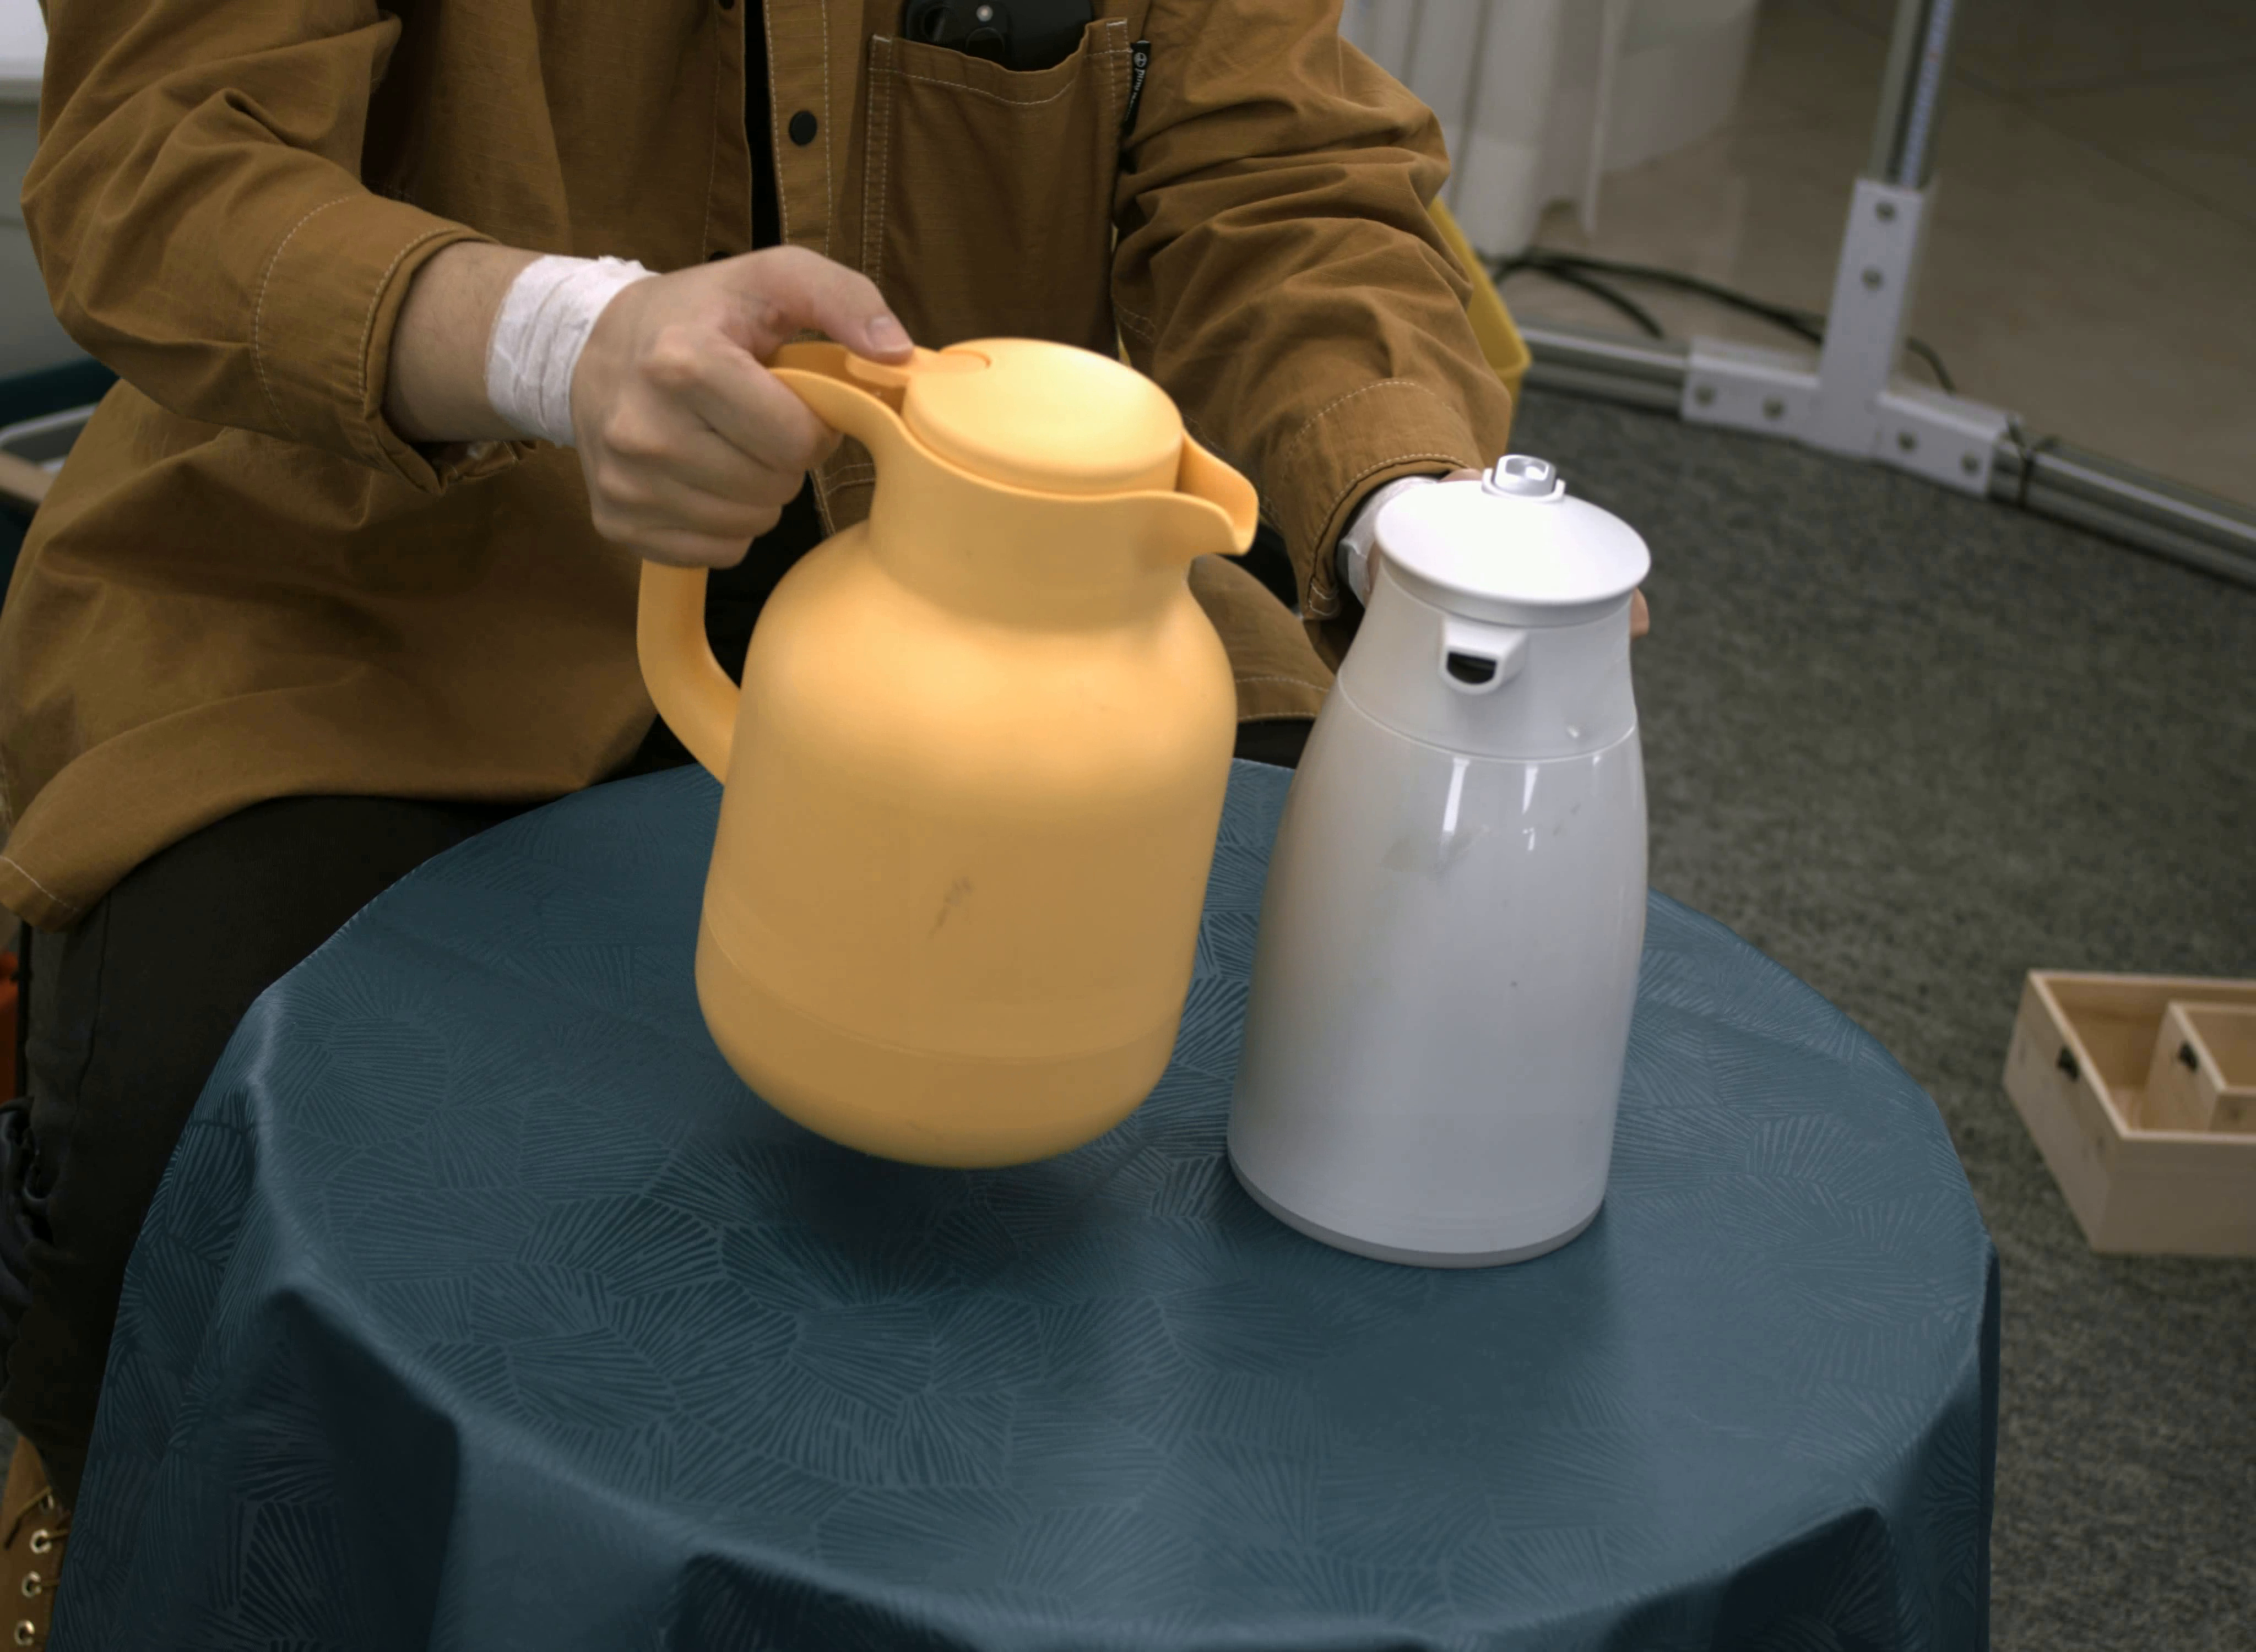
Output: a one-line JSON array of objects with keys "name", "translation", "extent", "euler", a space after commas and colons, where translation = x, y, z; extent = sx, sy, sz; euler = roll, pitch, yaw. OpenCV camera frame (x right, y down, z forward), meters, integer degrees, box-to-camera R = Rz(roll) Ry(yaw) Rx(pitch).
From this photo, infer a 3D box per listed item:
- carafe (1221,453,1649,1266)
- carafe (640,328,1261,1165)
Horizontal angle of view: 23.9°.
[{"name": "carafe", "translation": [0.114, 0.000, 1.800], "extent": [0.132, 0.248, 0.168], "euler": [11, 26, 8]}, {"name": "carafe", "translation": [-0.065, -0.037, 1.729], "extent": [0.203, 0.259, 0.163], "euler": [21, 29, 15]}]
